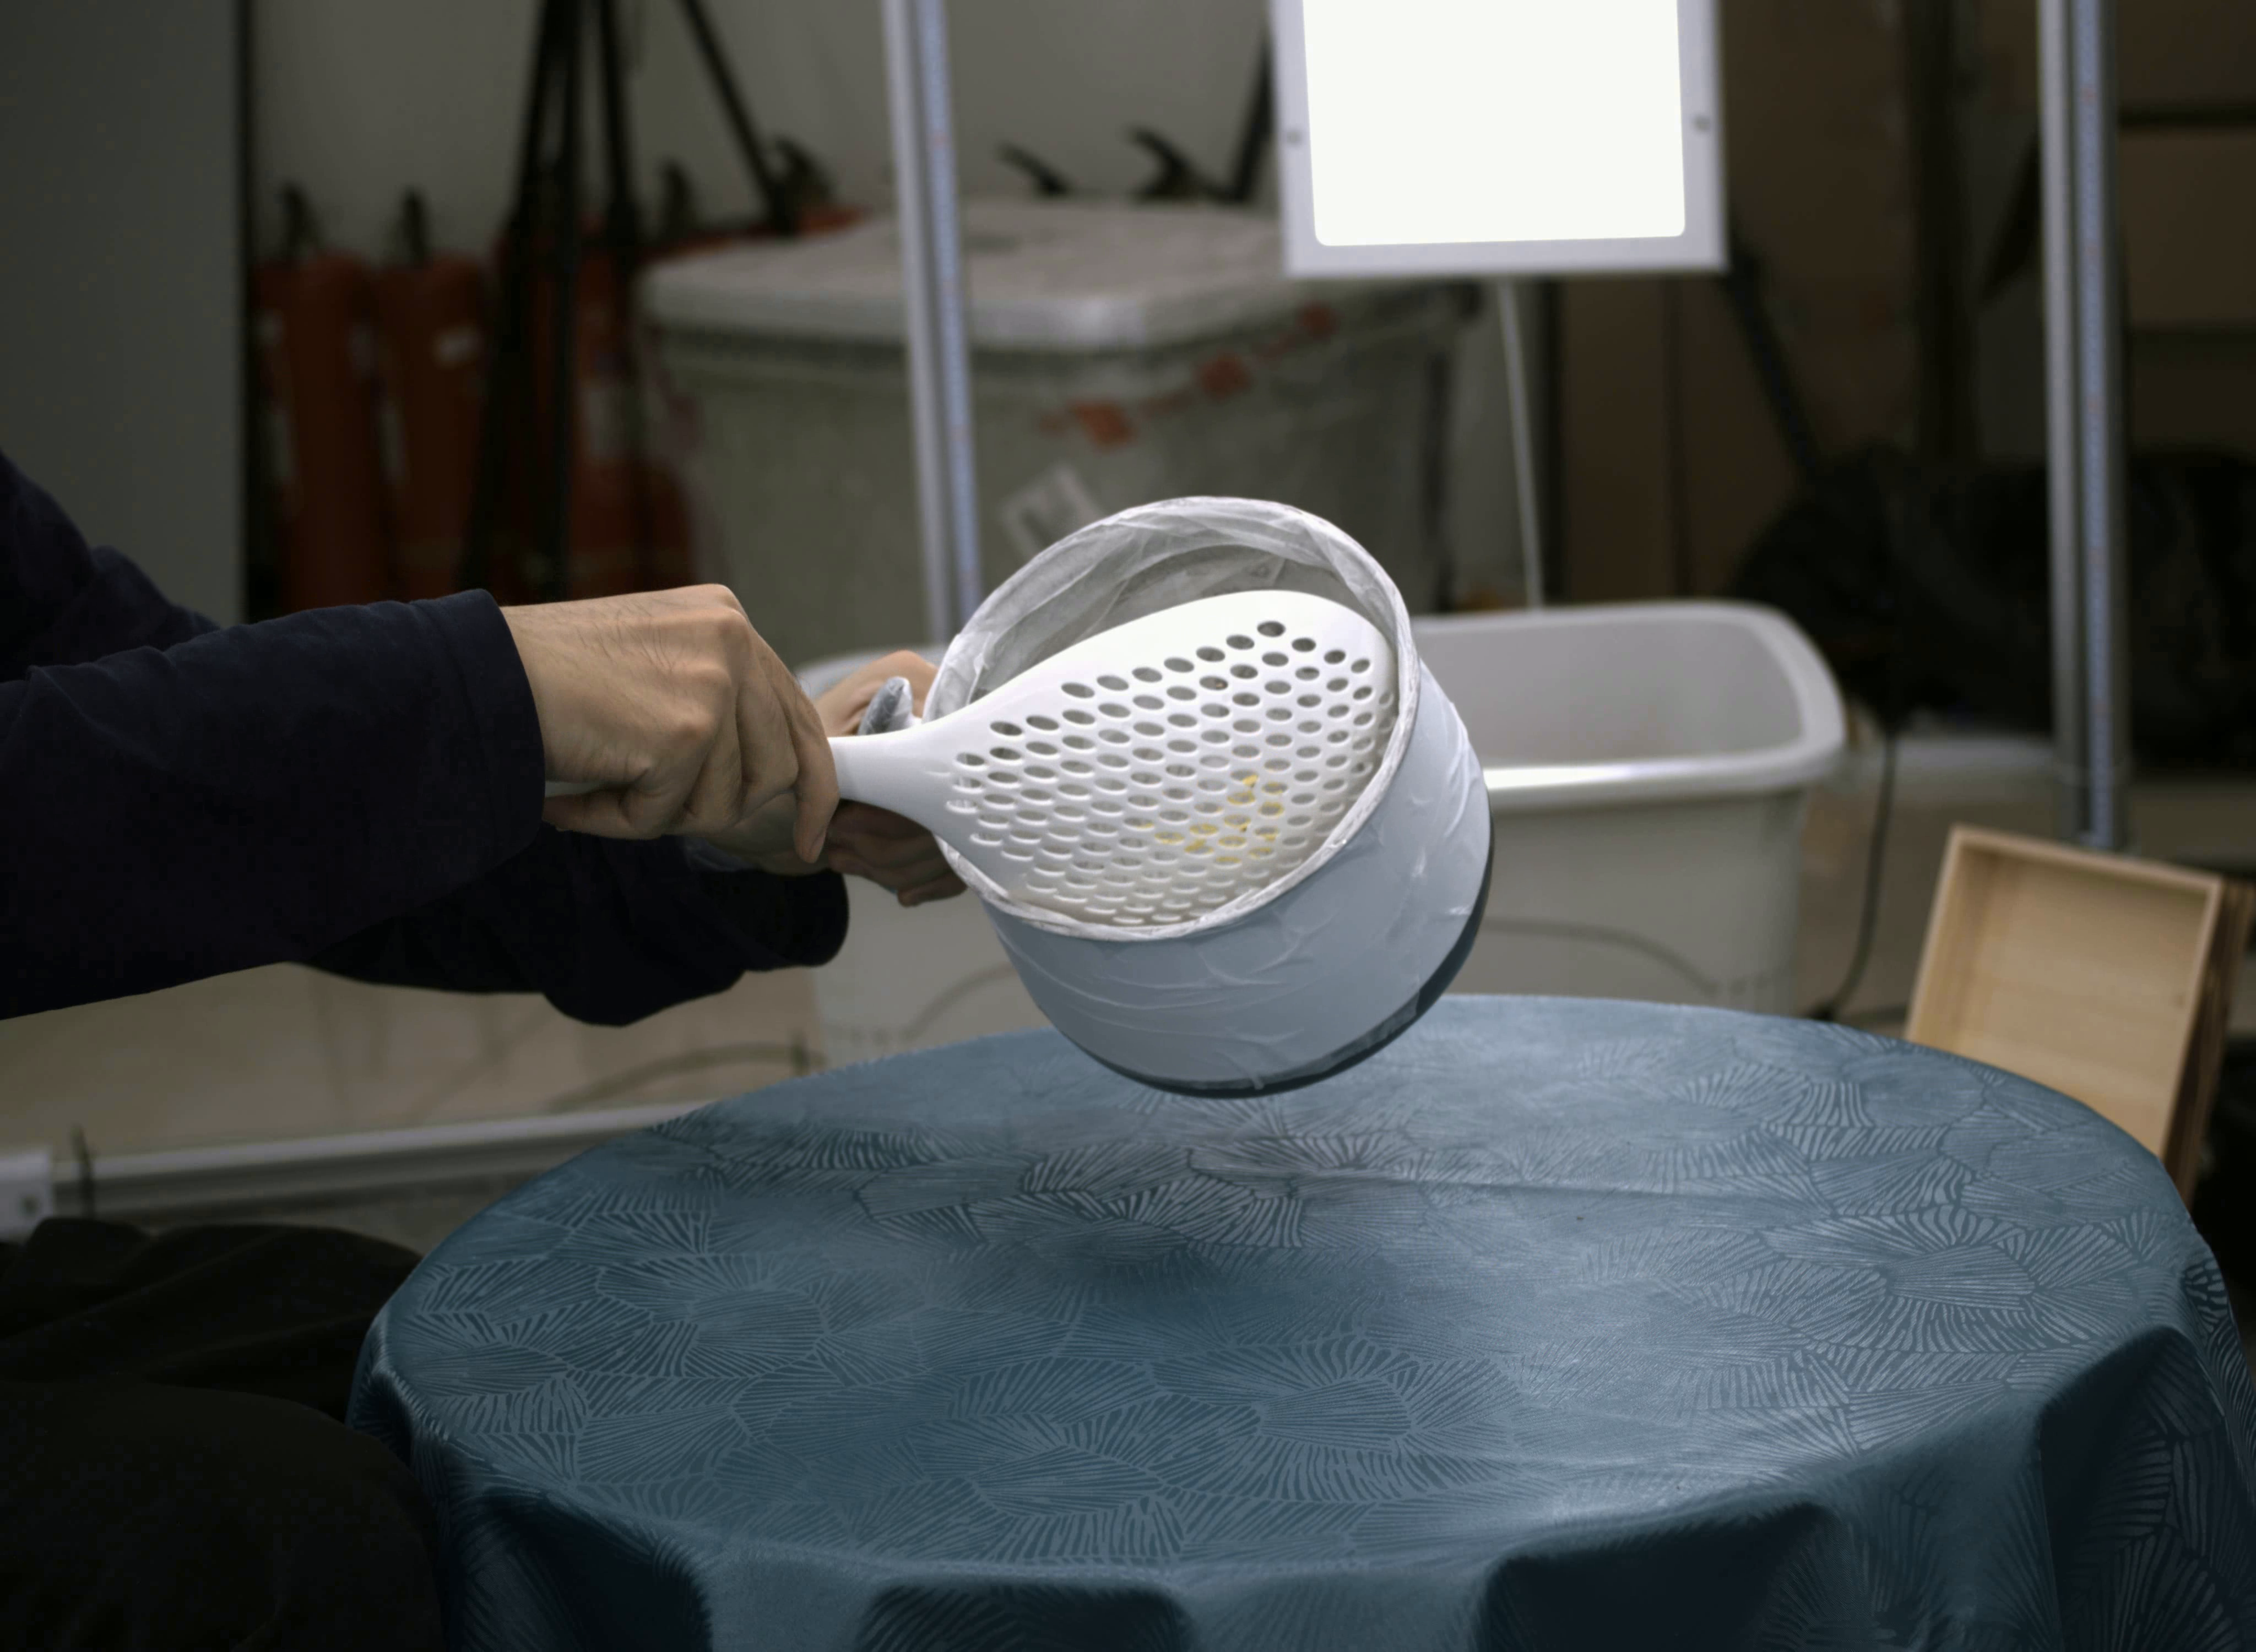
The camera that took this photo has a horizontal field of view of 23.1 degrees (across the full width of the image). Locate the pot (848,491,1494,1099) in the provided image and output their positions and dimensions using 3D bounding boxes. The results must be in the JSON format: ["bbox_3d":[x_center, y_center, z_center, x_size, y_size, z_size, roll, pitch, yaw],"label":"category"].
[{"bbox_3d":[0.006,-0.007,1.900,0.237,0.135,0.177,2,57,23],"label":"pot"}]

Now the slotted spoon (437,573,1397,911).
[{"bbox_3d":[-0.062,-0.019,1.791,0.341,0.138,0.050,3,28,-20],"label":"slotted spoon"}]
